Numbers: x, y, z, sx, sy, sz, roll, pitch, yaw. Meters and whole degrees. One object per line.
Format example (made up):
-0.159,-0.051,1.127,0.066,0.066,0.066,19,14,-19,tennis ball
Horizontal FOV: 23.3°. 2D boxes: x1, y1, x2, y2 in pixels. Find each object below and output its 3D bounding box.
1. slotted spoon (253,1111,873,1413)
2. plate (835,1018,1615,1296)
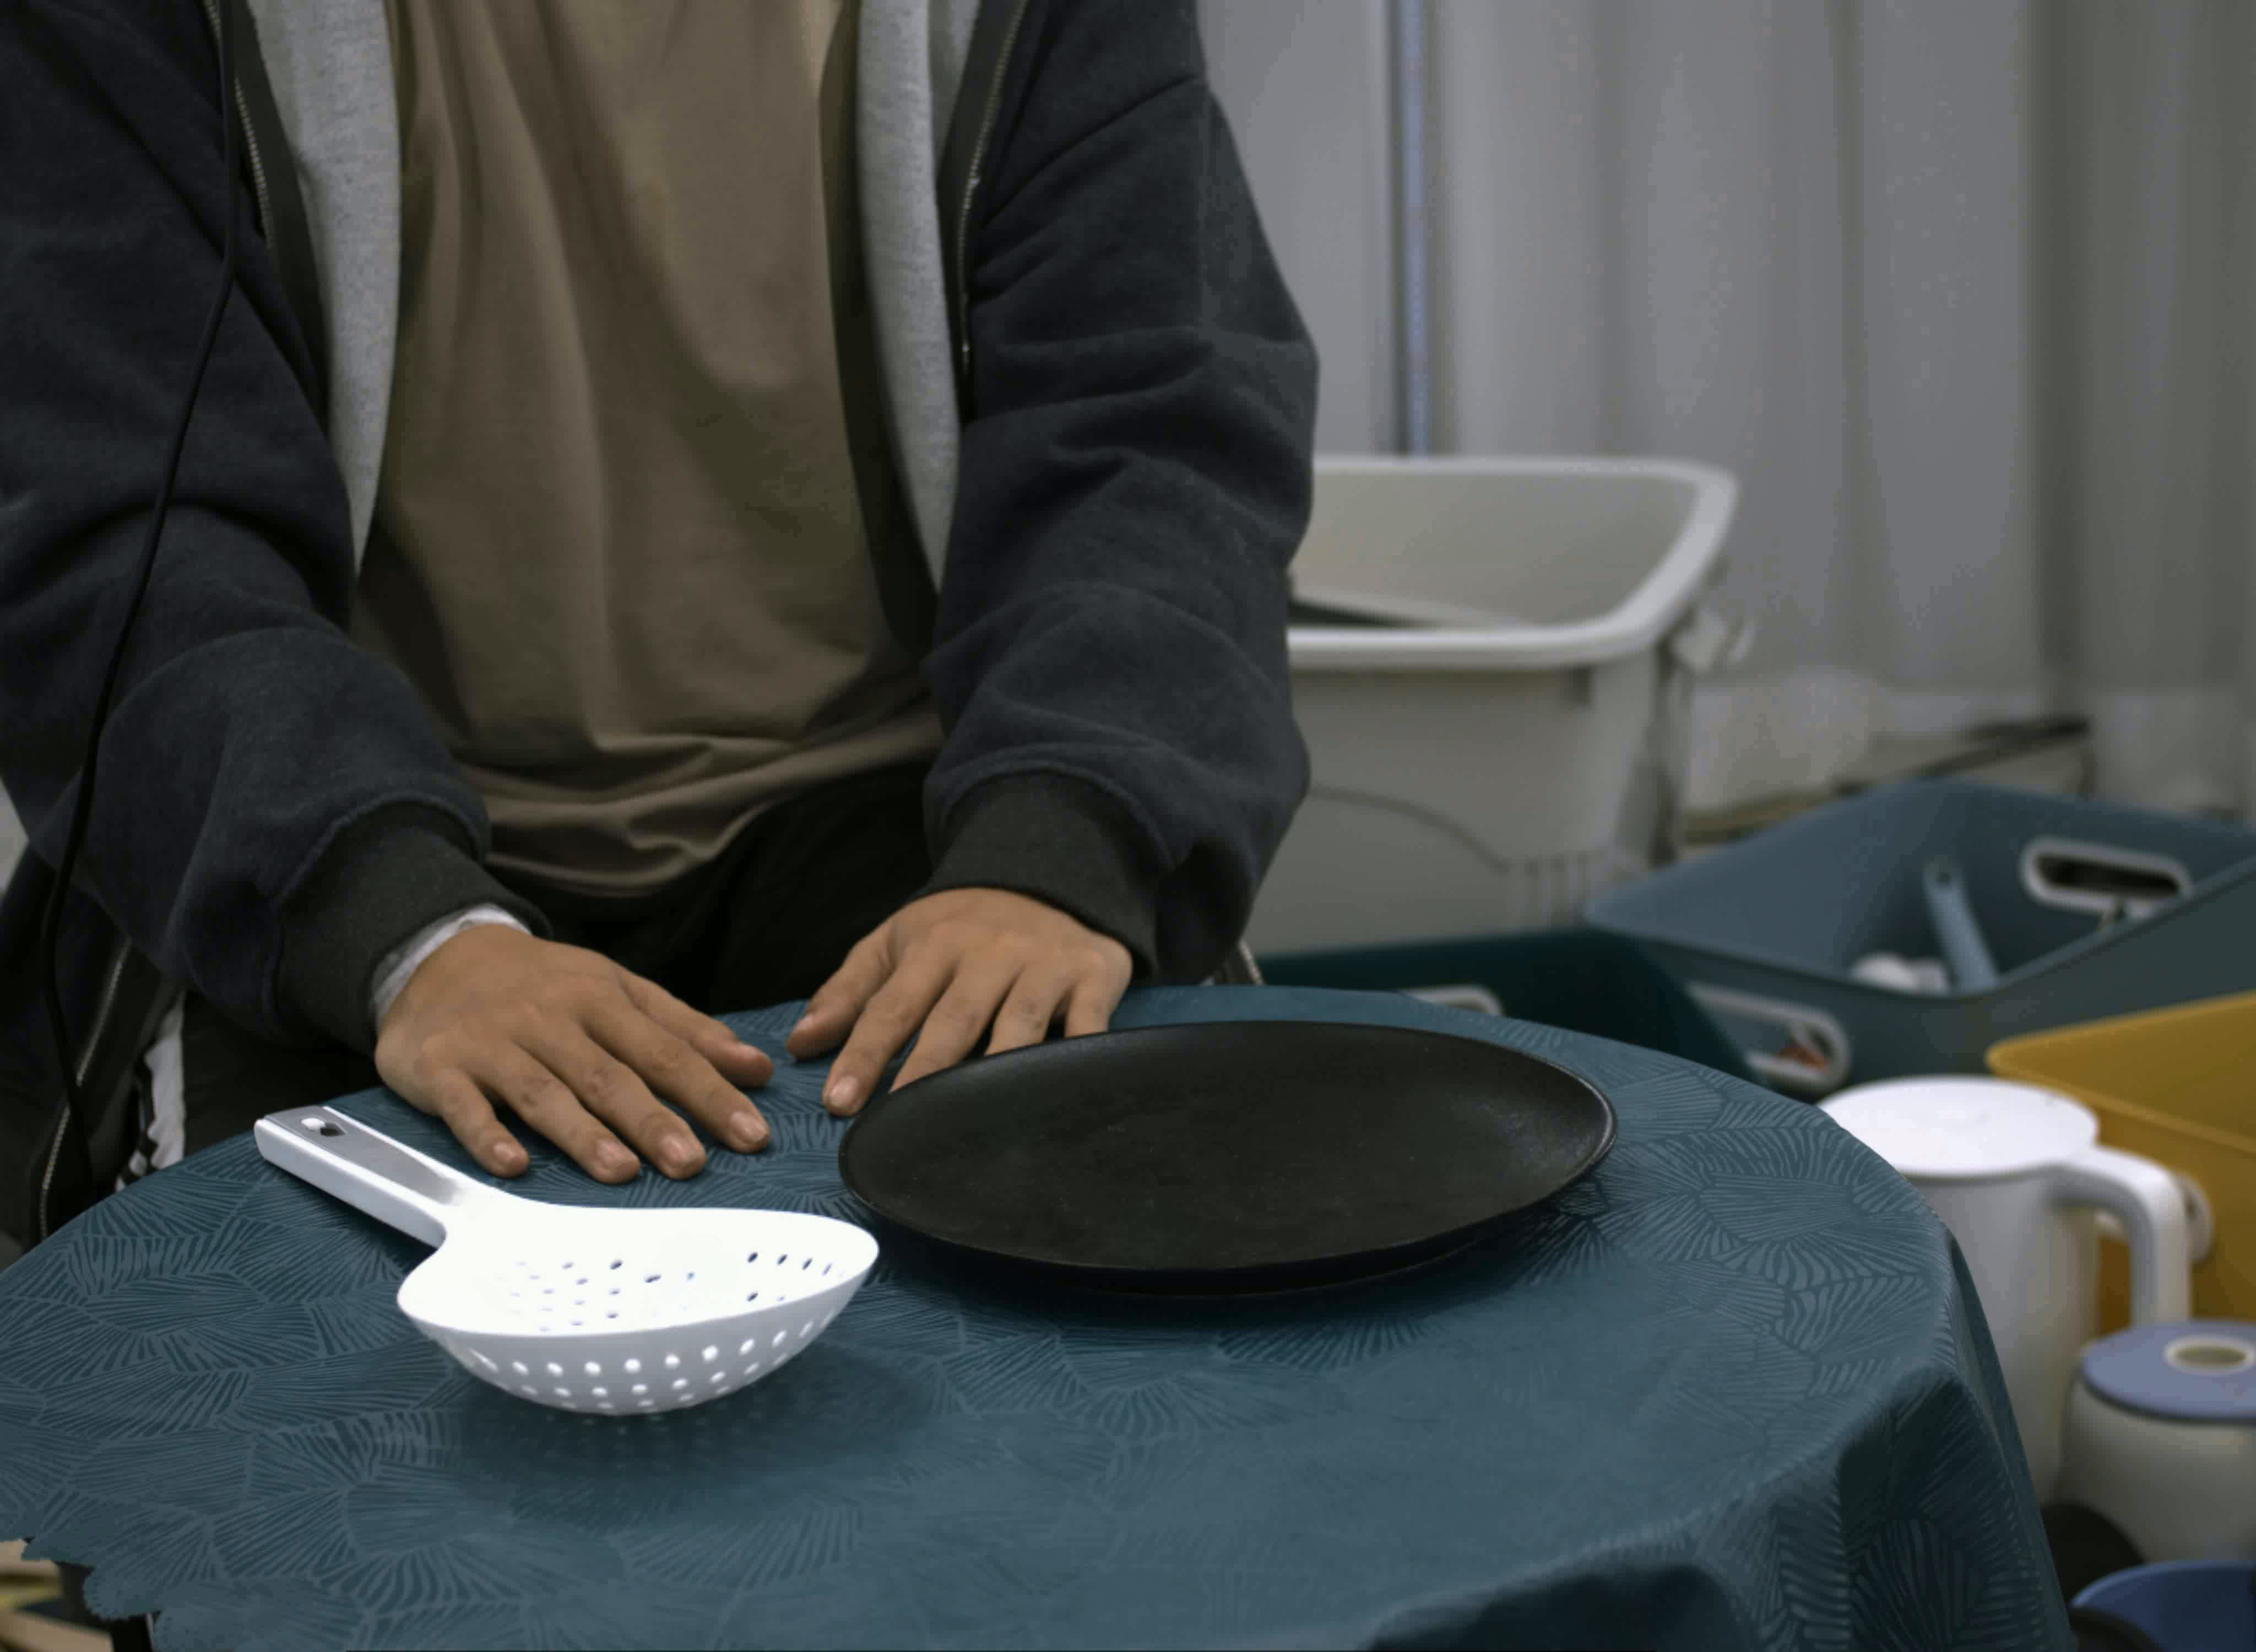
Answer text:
-0.192,0.121,1.642,0.135,0.045,0.352,-9,15,-28,slotted spoon
0.030,0.105,1.701,0.243,0.023,0.246,-3,15,0,plate
